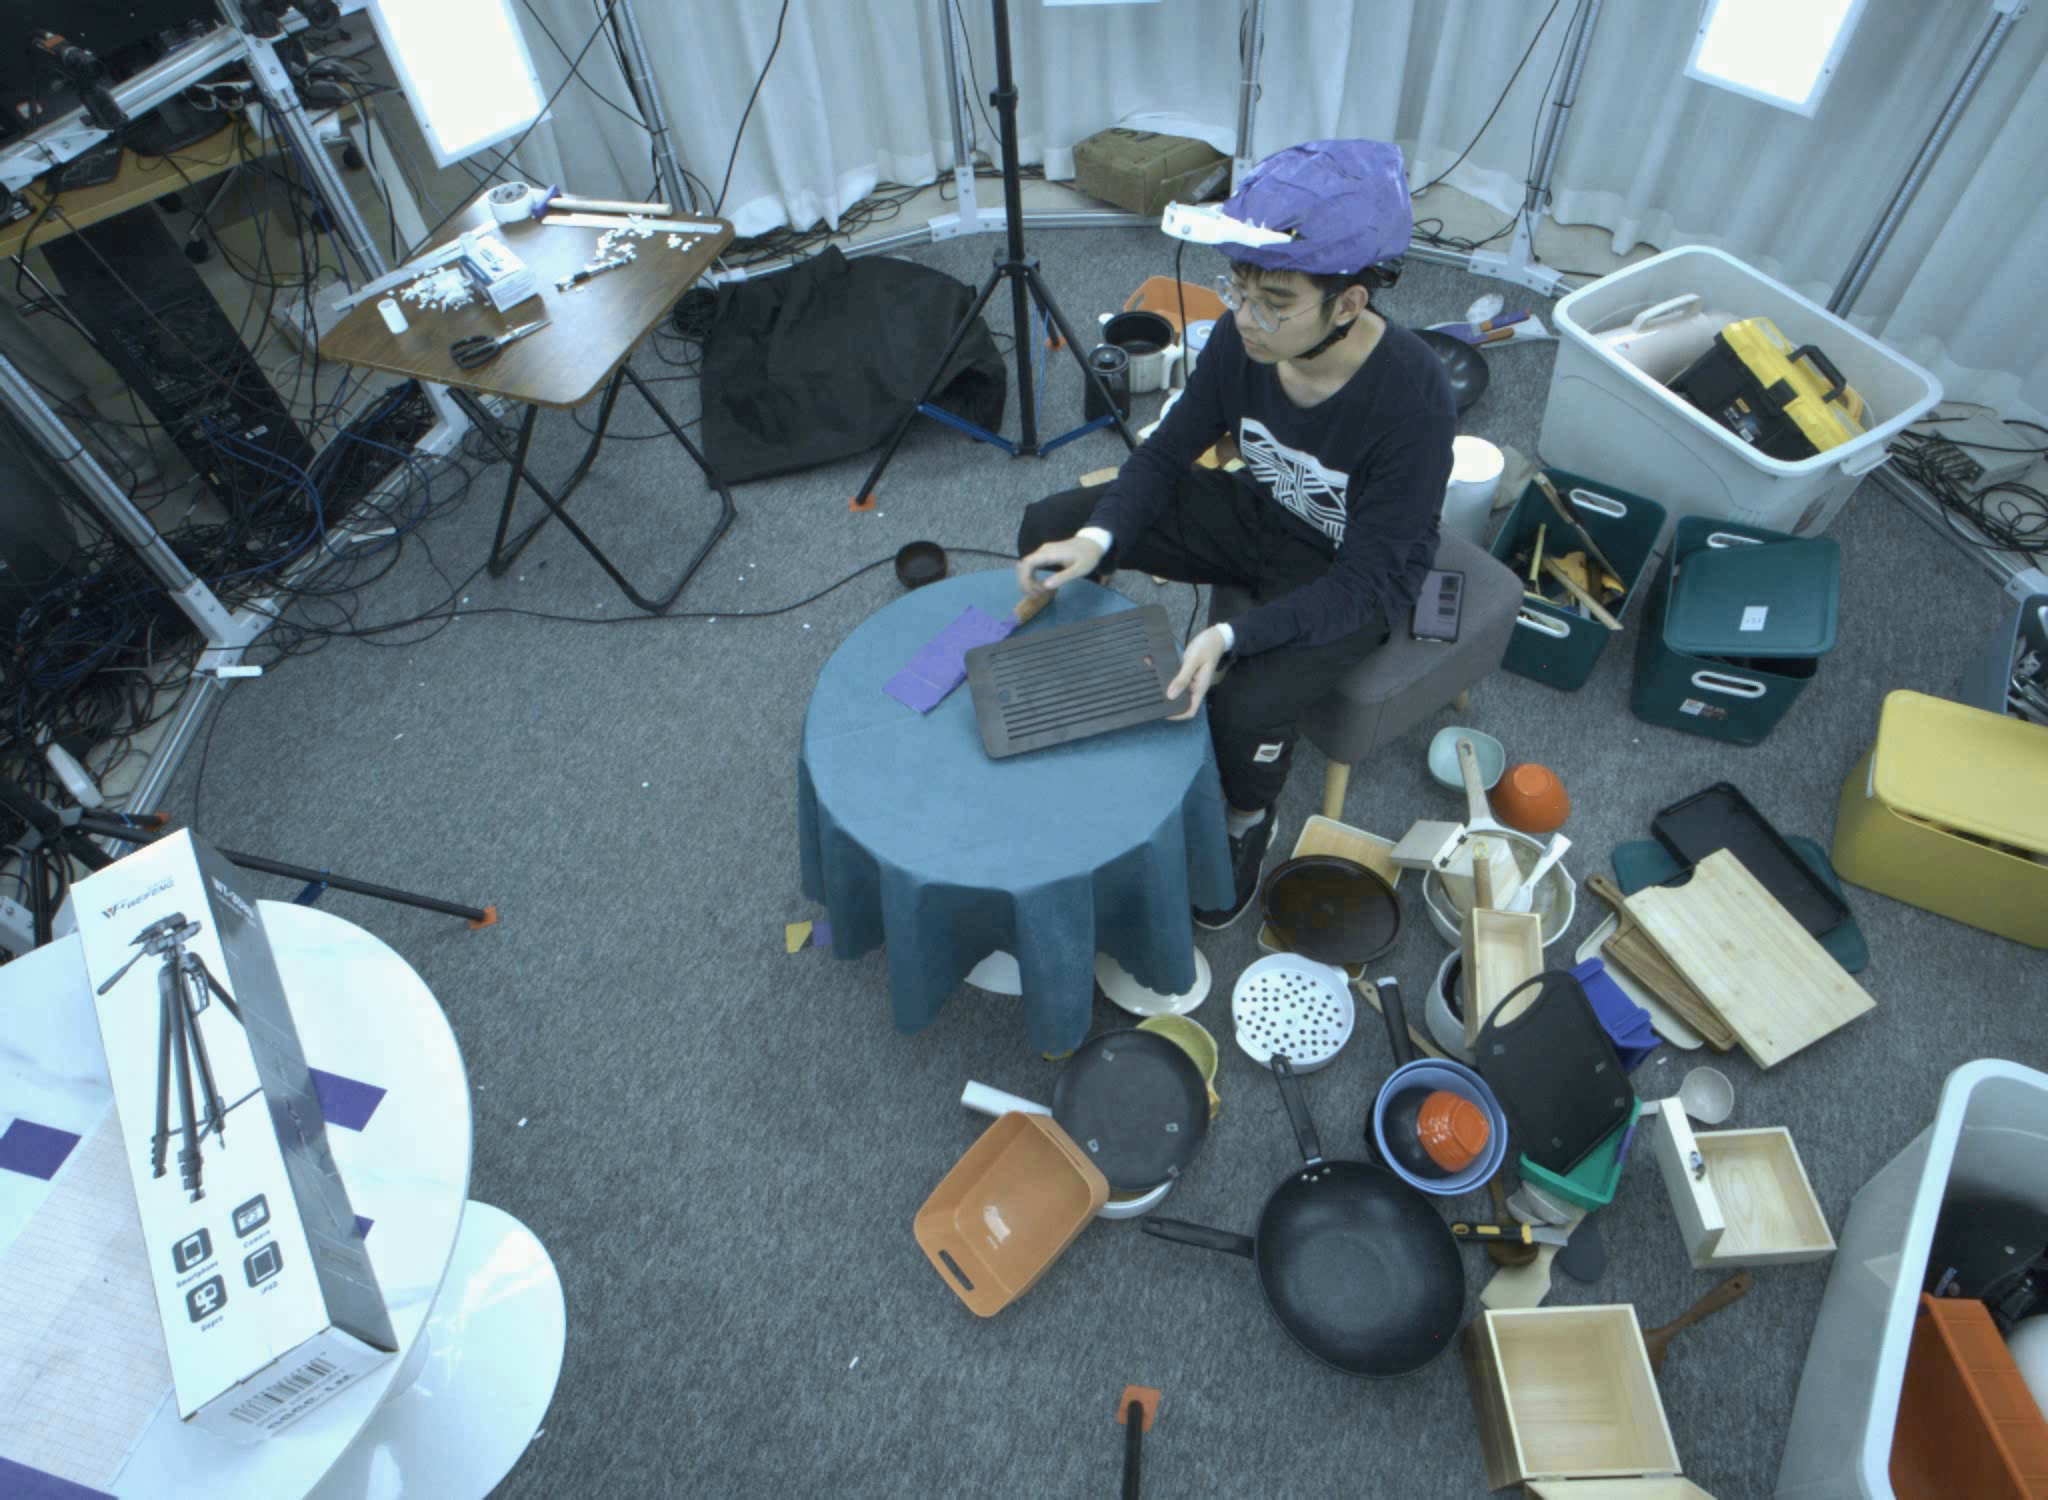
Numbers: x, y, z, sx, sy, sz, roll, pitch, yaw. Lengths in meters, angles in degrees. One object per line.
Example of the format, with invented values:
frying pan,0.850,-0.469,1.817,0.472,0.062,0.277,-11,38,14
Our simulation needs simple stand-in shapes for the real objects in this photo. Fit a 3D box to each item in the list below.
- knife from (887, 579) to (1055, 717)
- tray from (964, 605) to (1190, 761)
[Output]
knife,-0.084,-0.176,1.906,0.102,0.032,0.317,33,62,22
tray,0.076,-0.098,1.799,0.306,0.019,0.169,-14,80,-1
